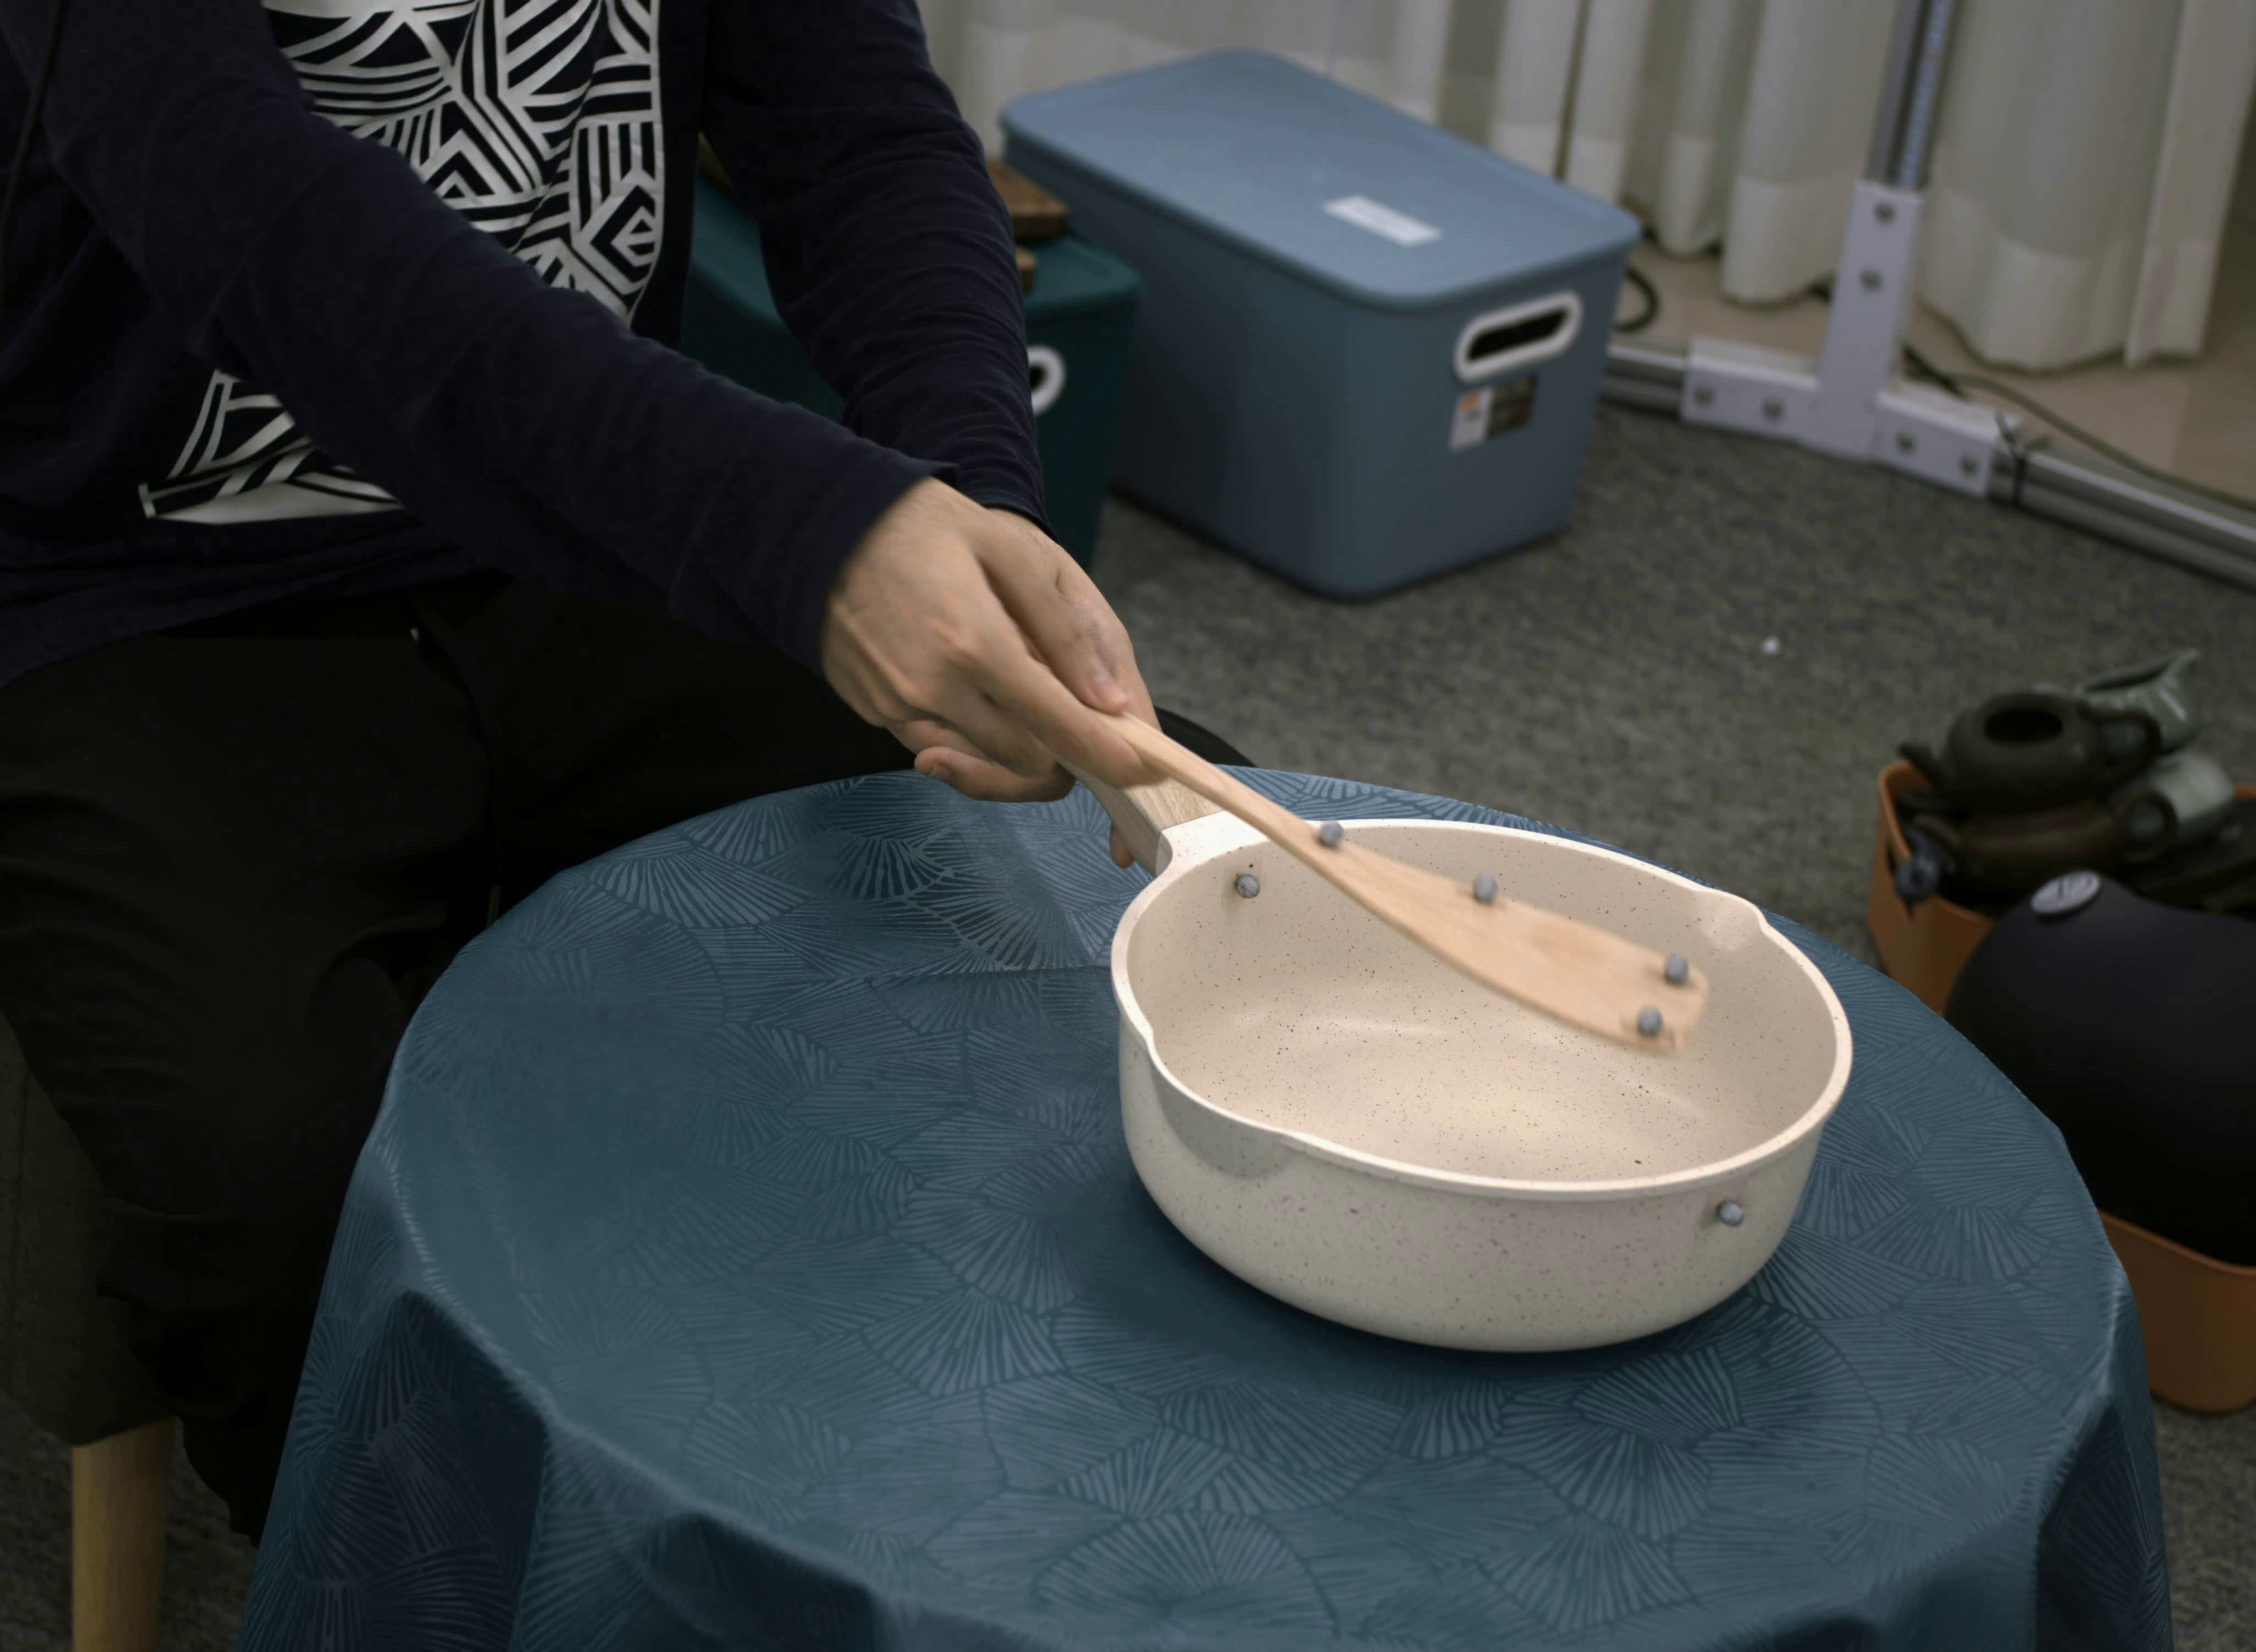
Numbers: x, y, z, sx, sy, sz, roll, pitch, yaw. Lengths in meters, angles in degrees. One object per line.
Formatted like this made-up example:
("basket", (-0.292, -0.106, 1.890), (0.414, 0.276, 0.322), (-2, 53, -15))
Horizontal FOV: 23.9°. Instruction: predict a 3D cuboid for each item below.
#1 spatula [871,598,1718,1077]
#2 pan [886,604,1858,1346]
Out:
("spatula", (0.053, -0.001, 1.778), (0.328, 0.016, 0.080), (30, 26, 15))
("pan", (0.058, 0.047, 1.870), (0.262, 0.101, 0.438), (-18, 35, -38))
